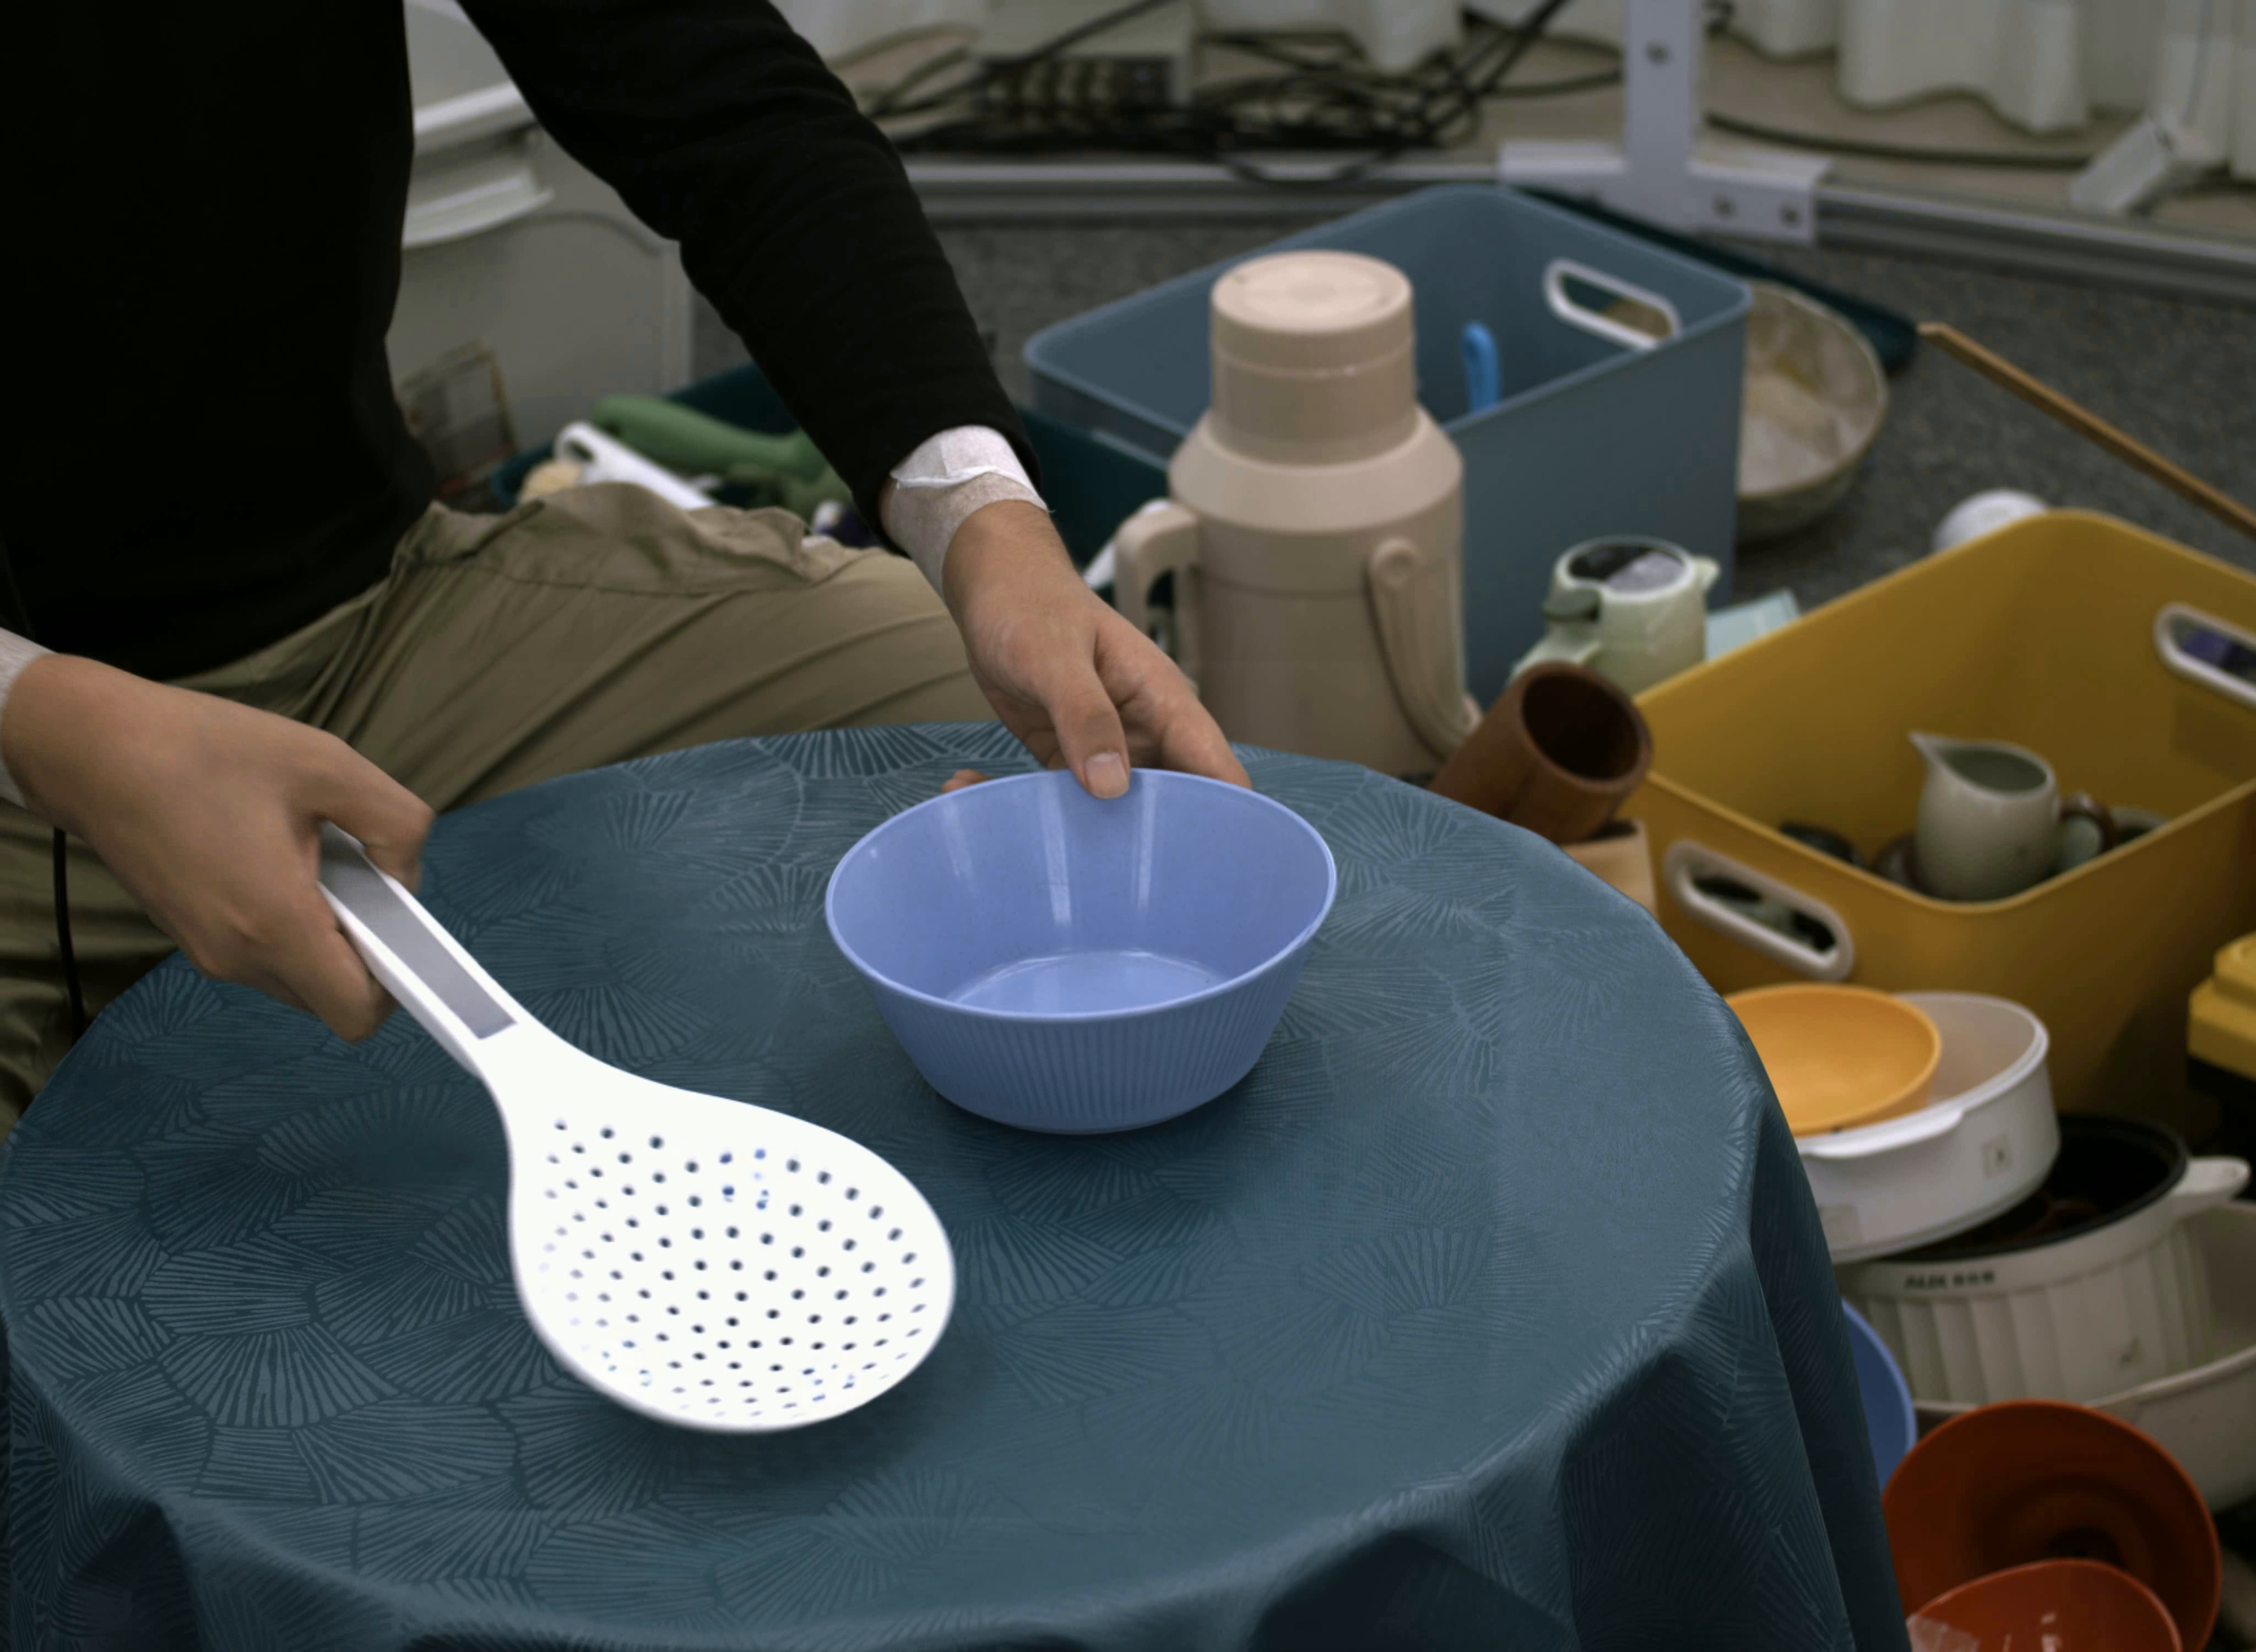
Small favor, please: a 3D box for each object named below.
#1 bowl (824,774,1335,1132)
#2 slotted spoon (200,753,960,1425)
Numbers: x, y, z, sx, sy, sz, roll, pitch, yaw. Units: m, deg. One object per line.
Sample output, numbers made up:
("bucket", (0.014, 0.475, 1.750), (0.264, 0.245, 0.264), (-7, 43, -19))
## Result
("bowl", (-0.015, 0.049, 1.928), (0.175, 0.069, 0.178), (-3, 26, 2))
("slotted spoon", (-0.191, 0.080, 1.808), (0.137, 0.045, 0.352), (-23, 55, -36))
